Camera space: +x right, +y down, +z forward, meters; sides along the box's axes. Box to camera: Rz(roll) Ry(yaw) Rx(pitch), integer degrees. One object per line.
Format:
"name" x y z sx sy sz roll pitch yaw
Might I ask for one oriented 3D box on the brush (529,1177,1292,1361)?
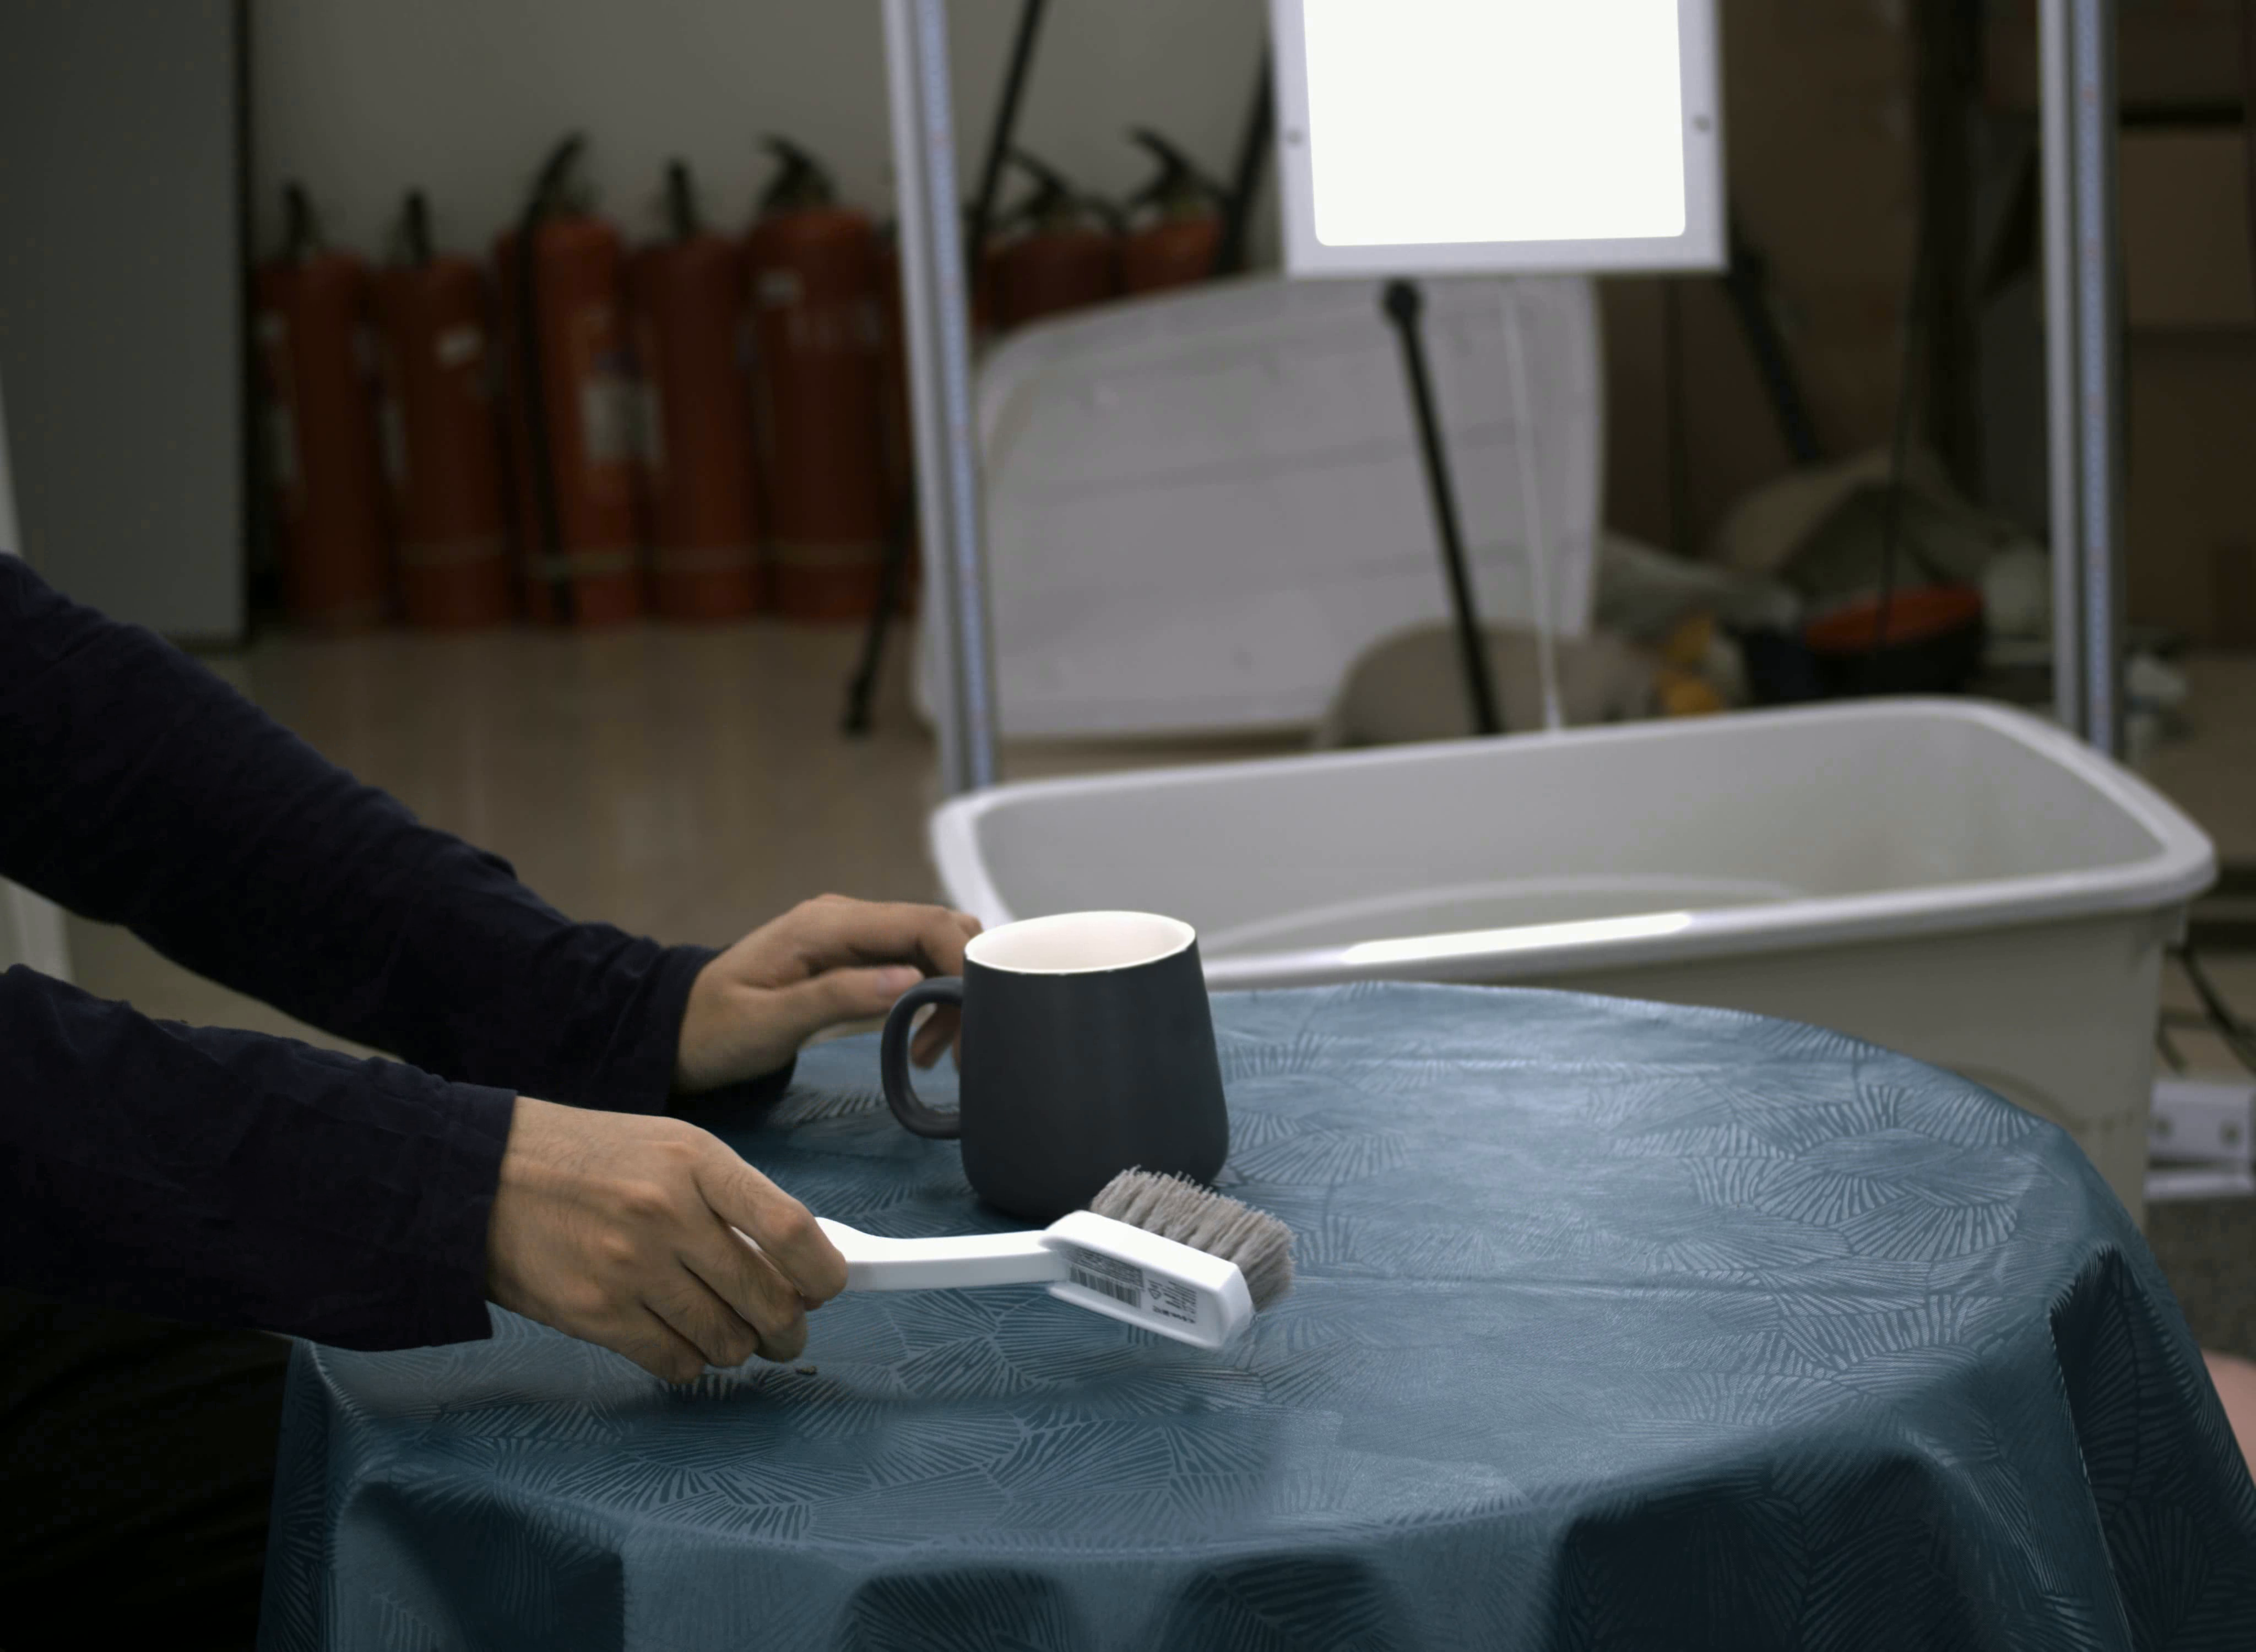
"brush" -0.068 0.131 1.728 0.246 0.034 0.049 3 46 18

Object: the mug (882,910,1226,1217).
"mug" -0.028 0.080 1.900 0.125 0.090 0.091 3 14 25
